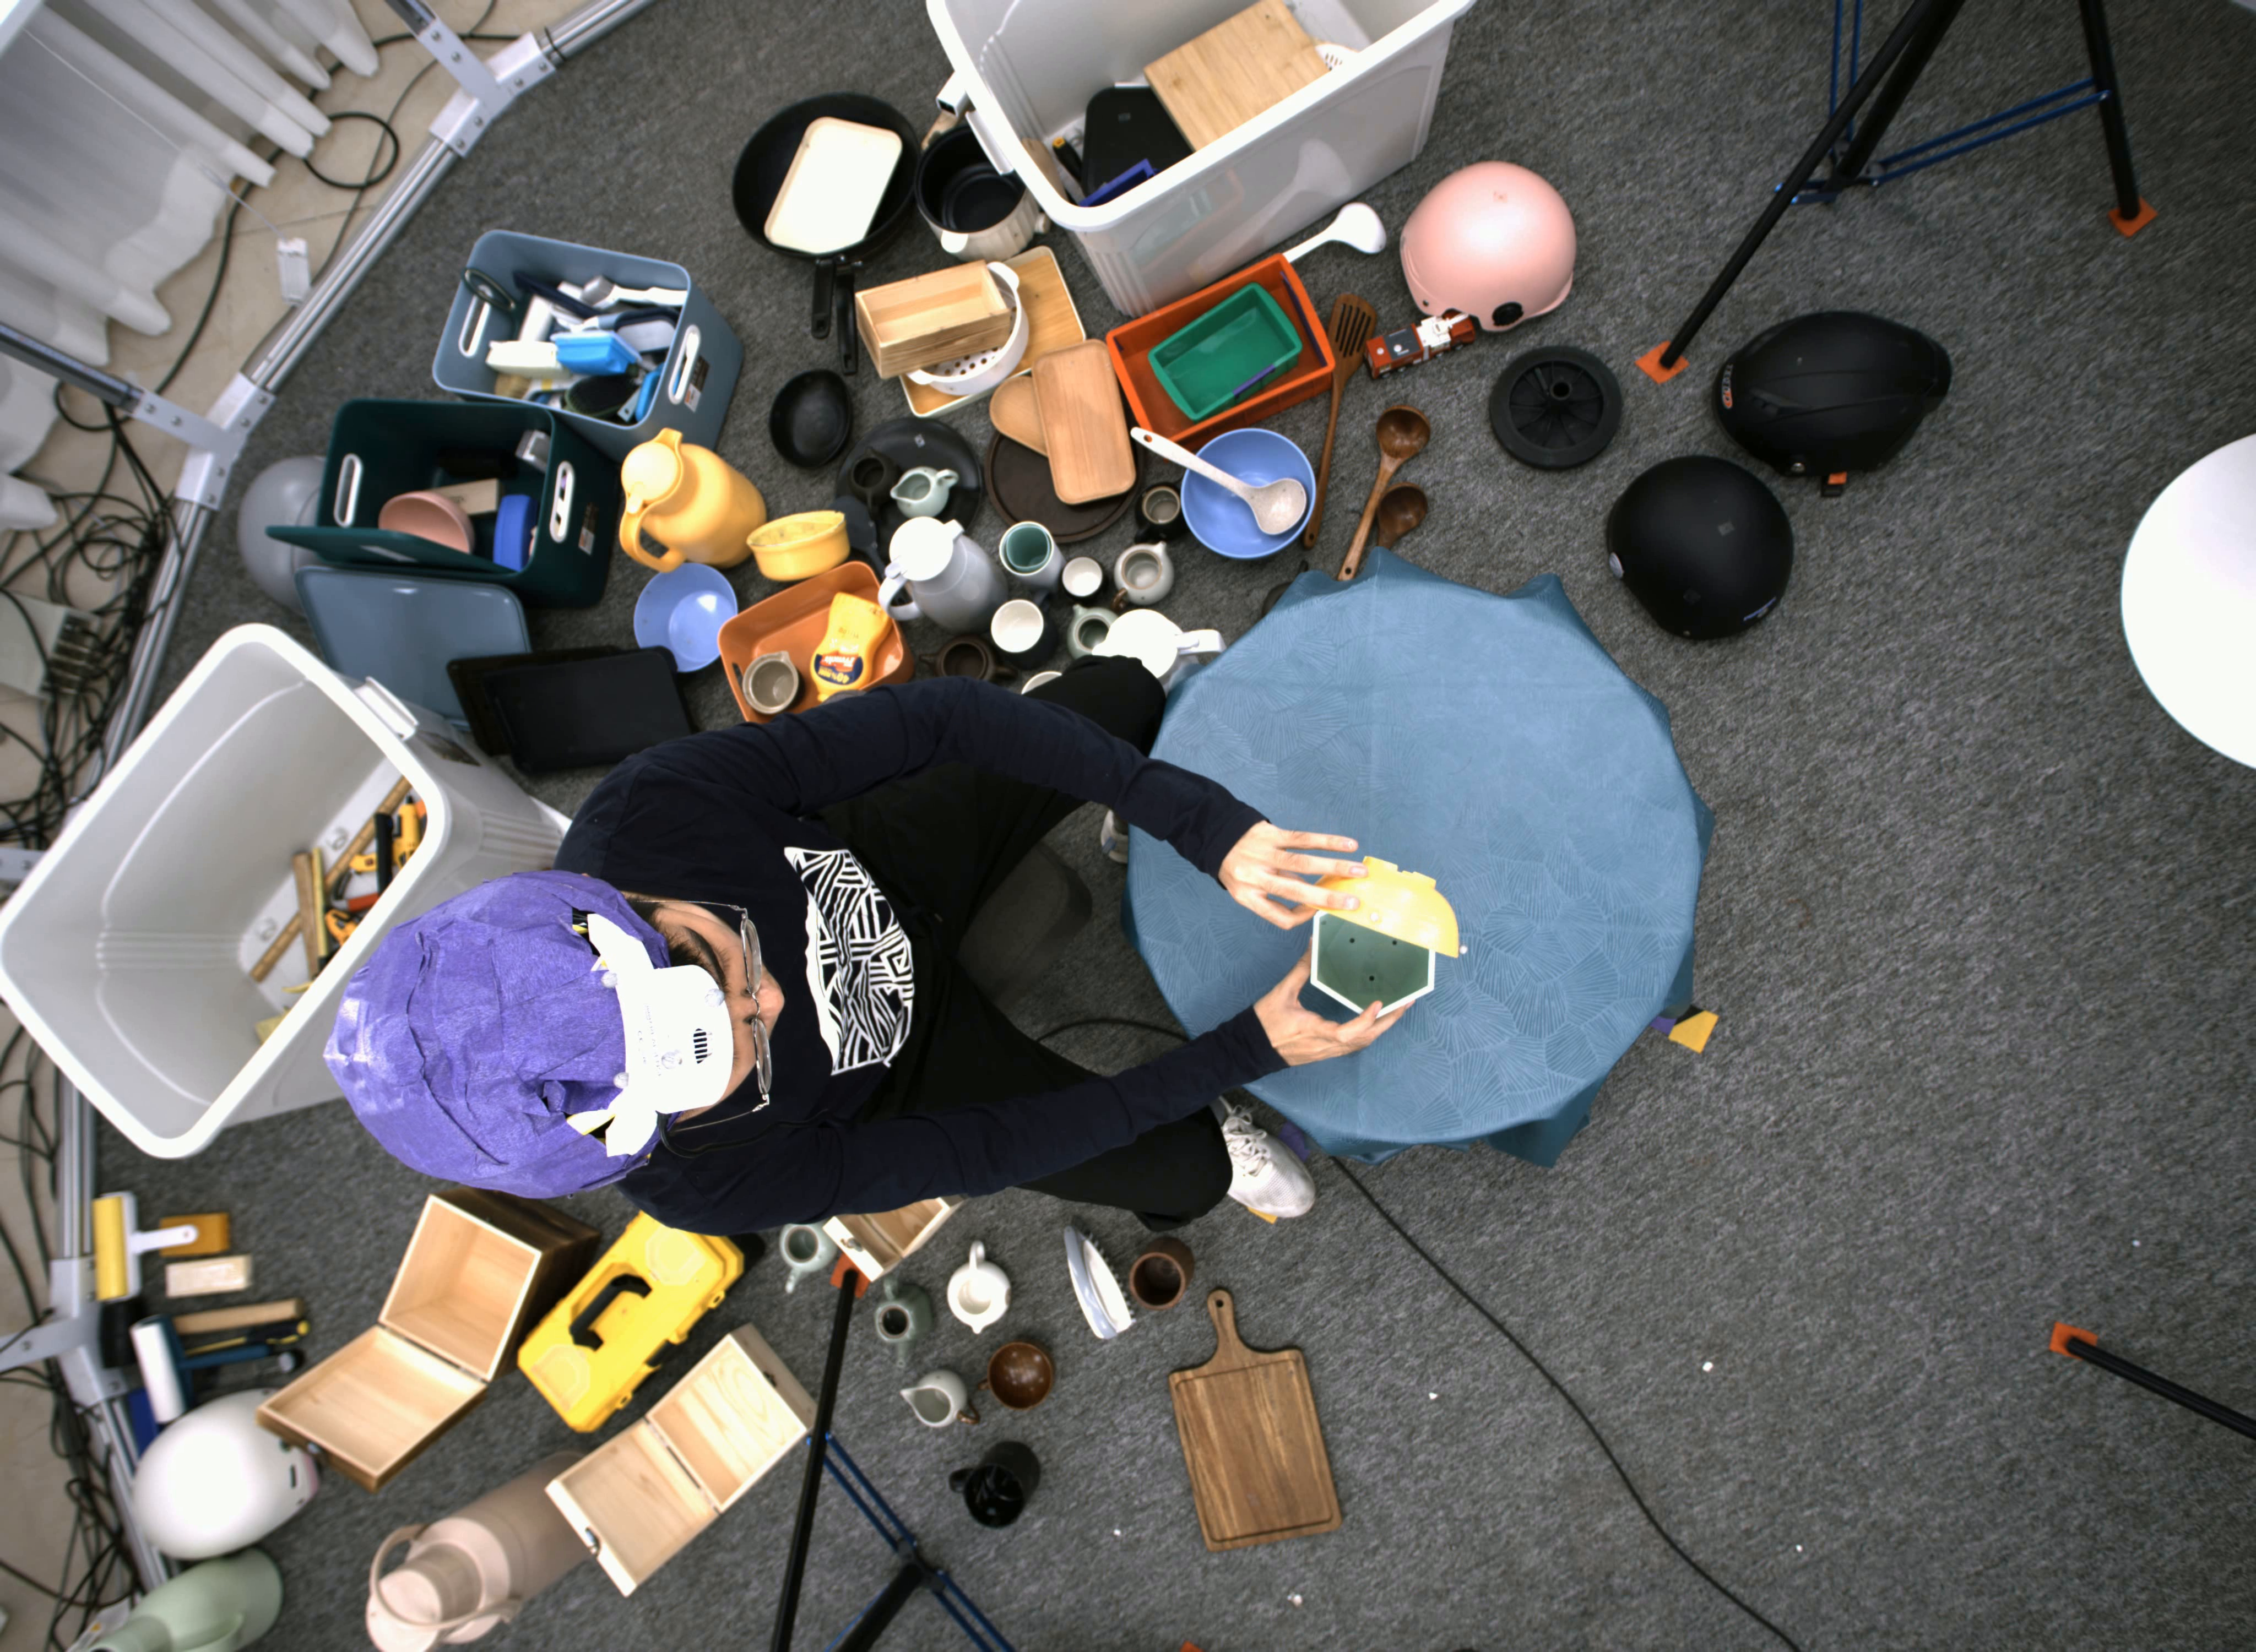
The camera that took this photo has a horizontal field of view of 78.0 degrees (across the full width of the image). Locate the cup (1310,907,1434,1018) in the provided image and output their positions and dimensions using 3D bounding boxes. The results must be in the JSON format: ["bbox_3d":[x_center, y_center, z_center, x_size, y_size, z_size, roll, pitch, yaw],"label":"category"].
[{"bbox_3d":[0.245,0.123,1.378,0.115,0.163,0.130,1,85,11],"label":"cup"}]

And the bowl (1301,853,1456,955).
[{"bbox_3d":[0.231,0.061,1.226,0.145,0.145,0.060,21,88,11],"label":"bowl"}]
